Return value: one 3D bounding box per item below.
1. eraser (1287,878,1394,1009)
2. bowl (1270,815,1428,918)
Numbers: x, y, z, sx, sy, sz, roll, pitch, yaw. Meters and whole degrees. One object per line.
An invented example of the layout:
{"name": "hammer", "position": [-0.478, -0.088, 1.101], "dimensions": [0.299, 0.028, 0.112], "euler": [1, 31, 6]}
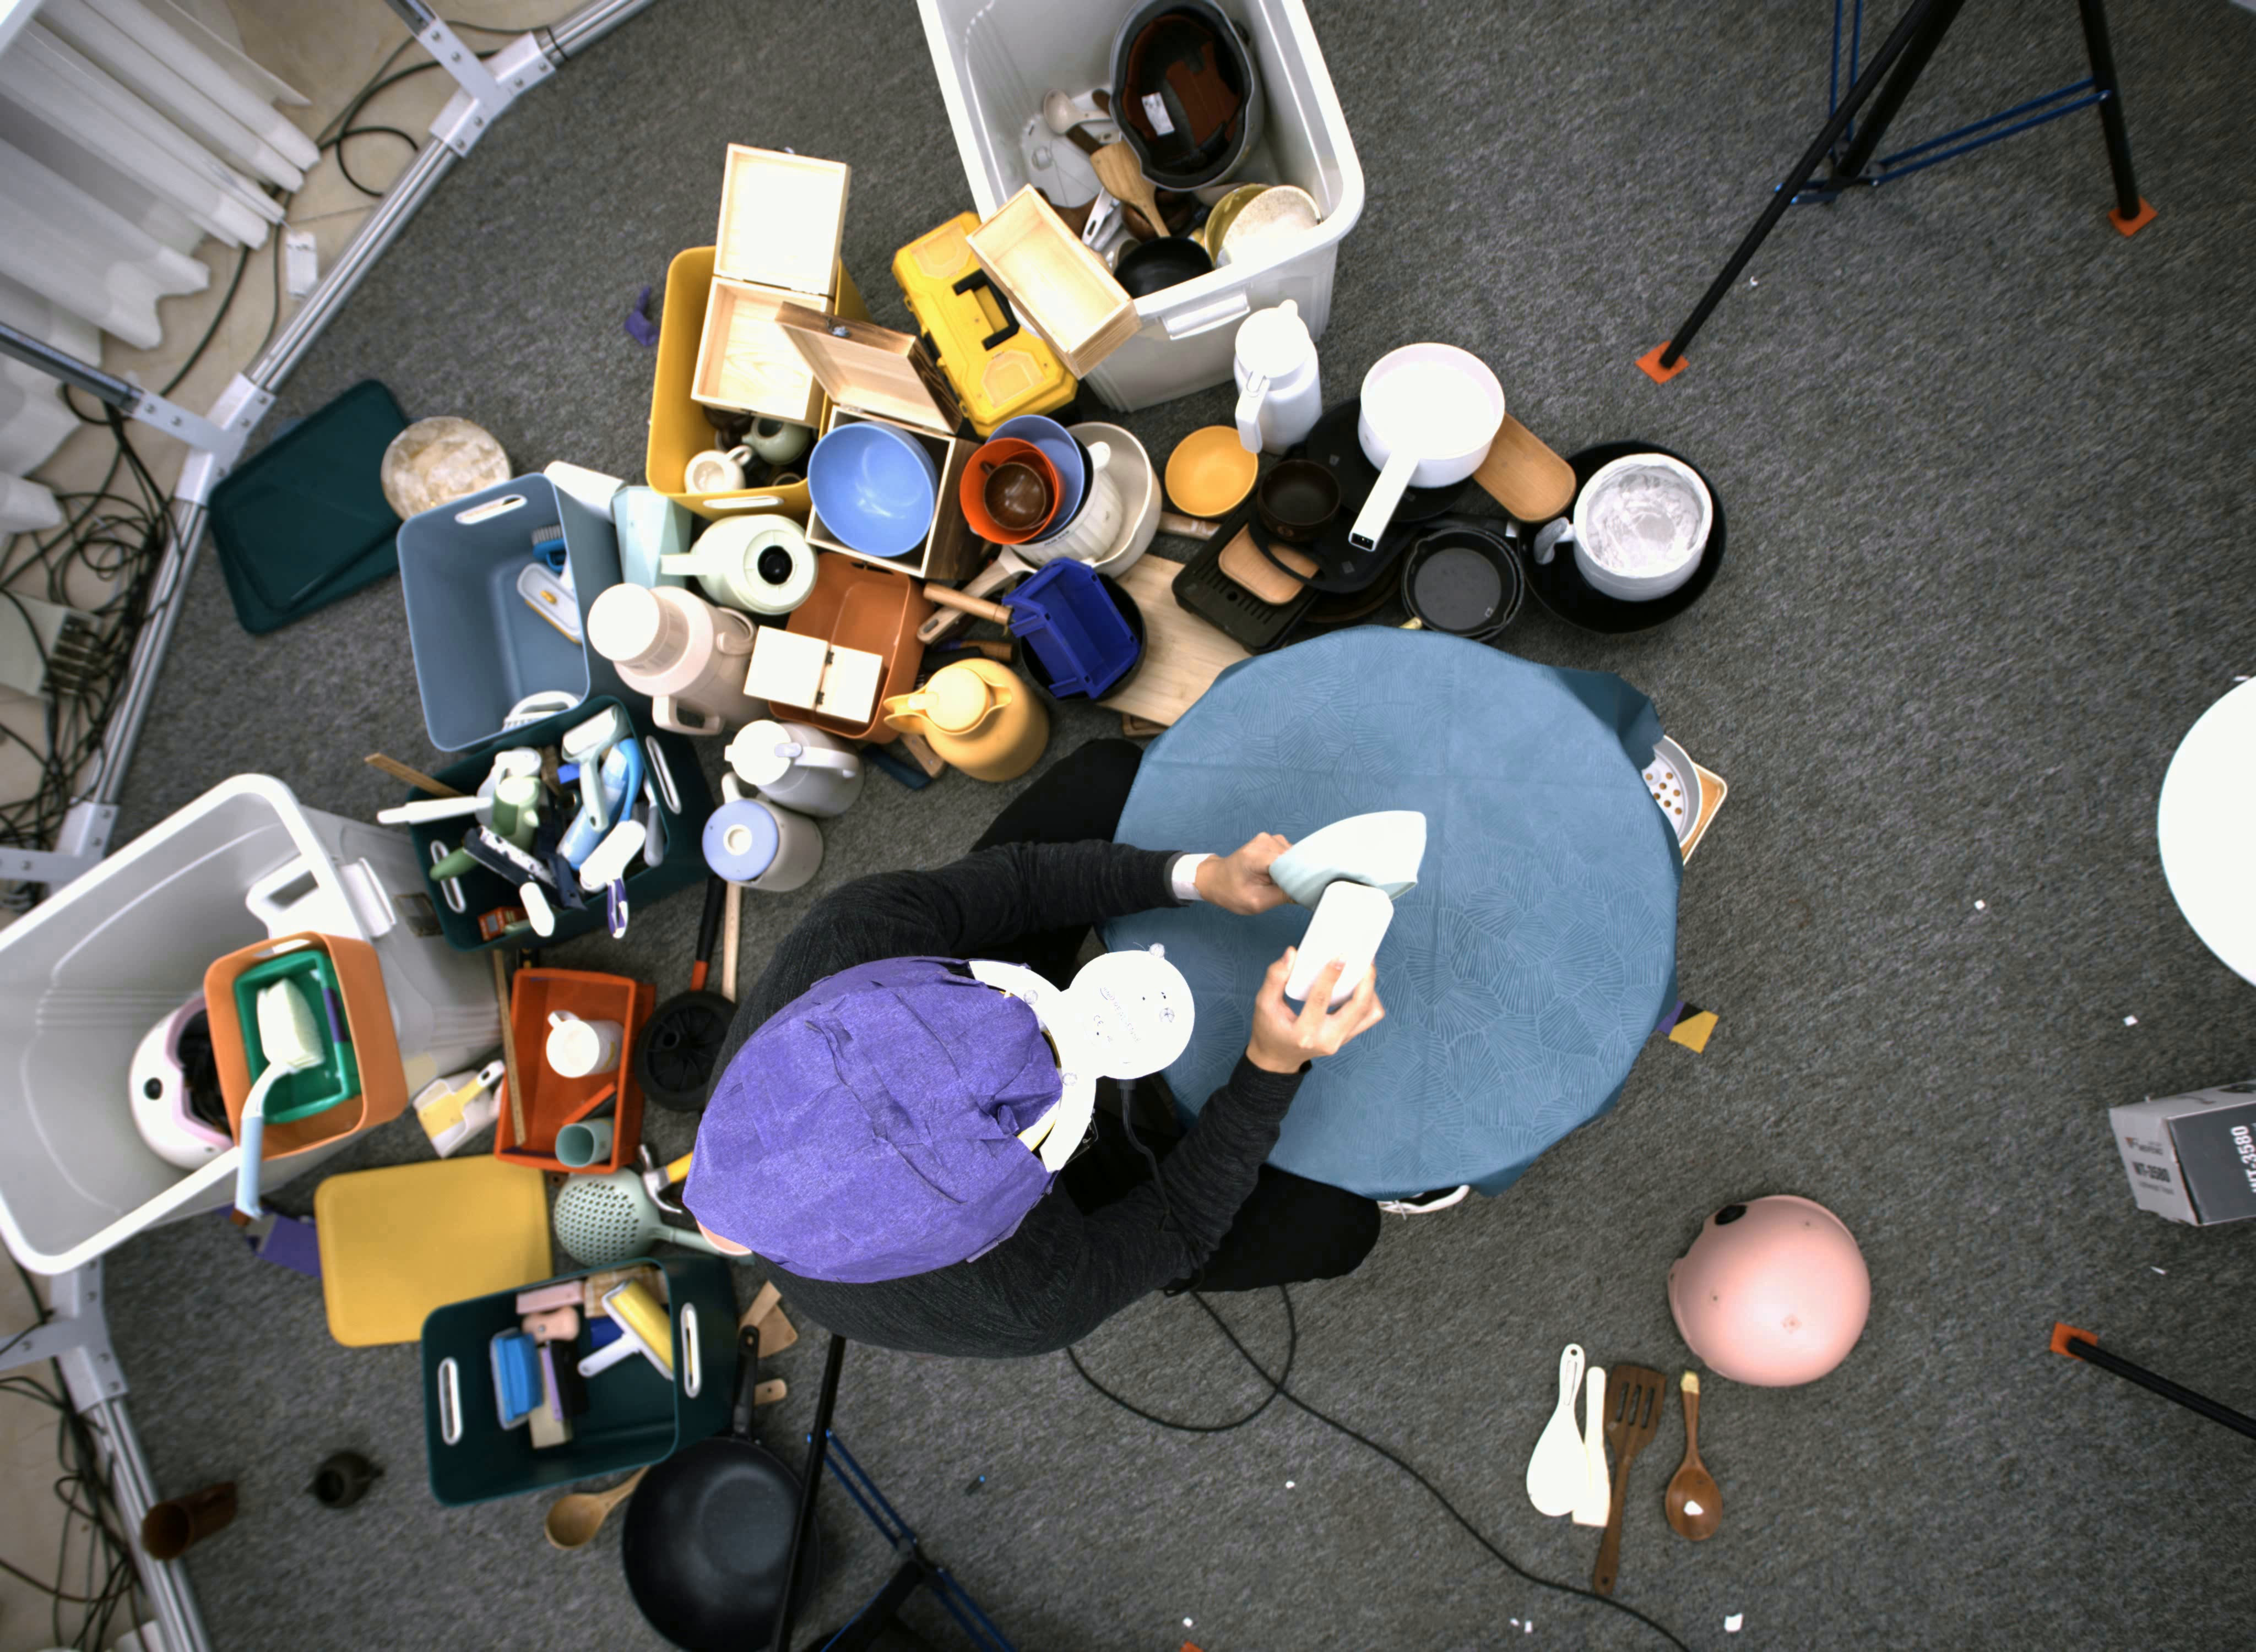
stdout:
{"name": "eraser", "position": [0.186, 0.106, 1.232], "dimensions": [0.063, 0.033, 0.134], "euler": [14, 124, -9]}
{"name": "bowl", "position": [0.210, 0.042, 1.265], "dimensions": [0.152, 0.153, 0.058], "euler": [-18, 72, 8]}
